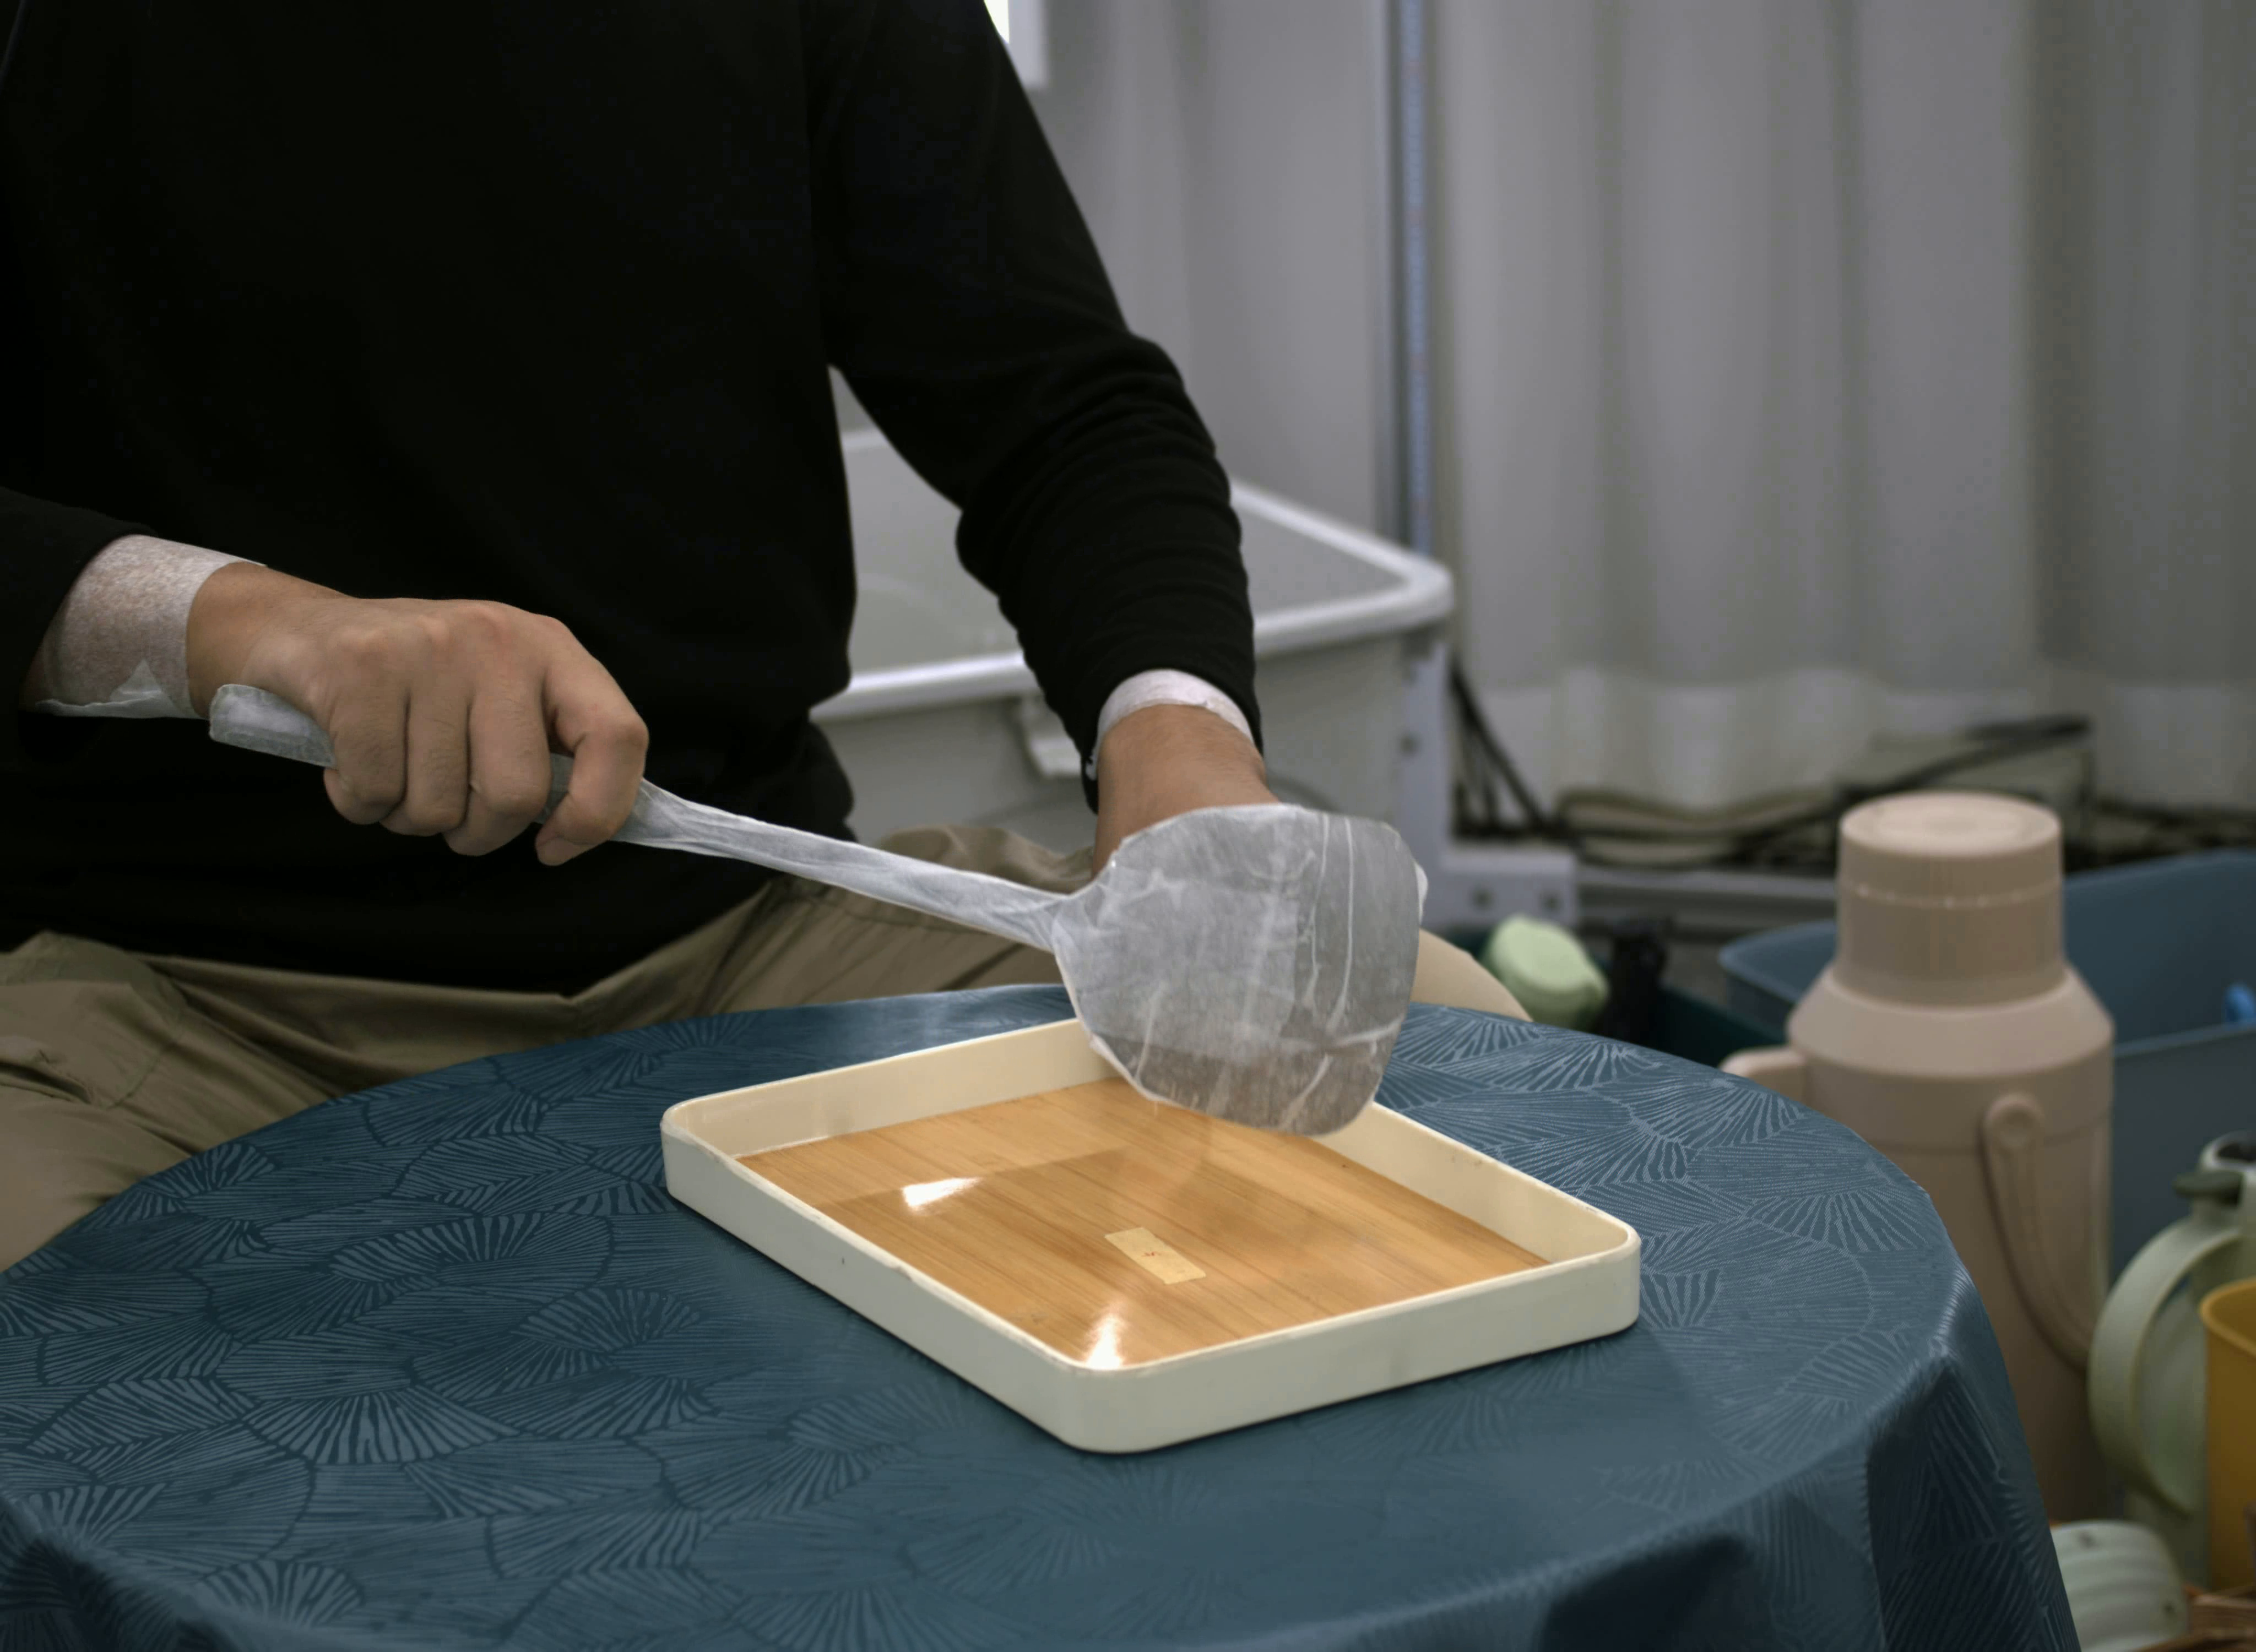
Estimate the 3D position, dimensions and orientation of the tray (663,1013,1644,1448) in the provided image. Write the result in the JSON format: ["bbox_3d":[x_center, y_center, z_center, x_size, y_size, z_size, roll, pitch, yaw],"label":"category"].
[{"bbox_3d":[0.001,0.117,1.654,0.191,0.027,0.302,-11,16,-27],"label":"tray"}]

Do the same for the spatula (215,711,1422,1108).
[{"bbox_3d":[-0.093,0.009,1.633,0.364,0.098,0.045,15,27,8],"label":"spatula"}]
